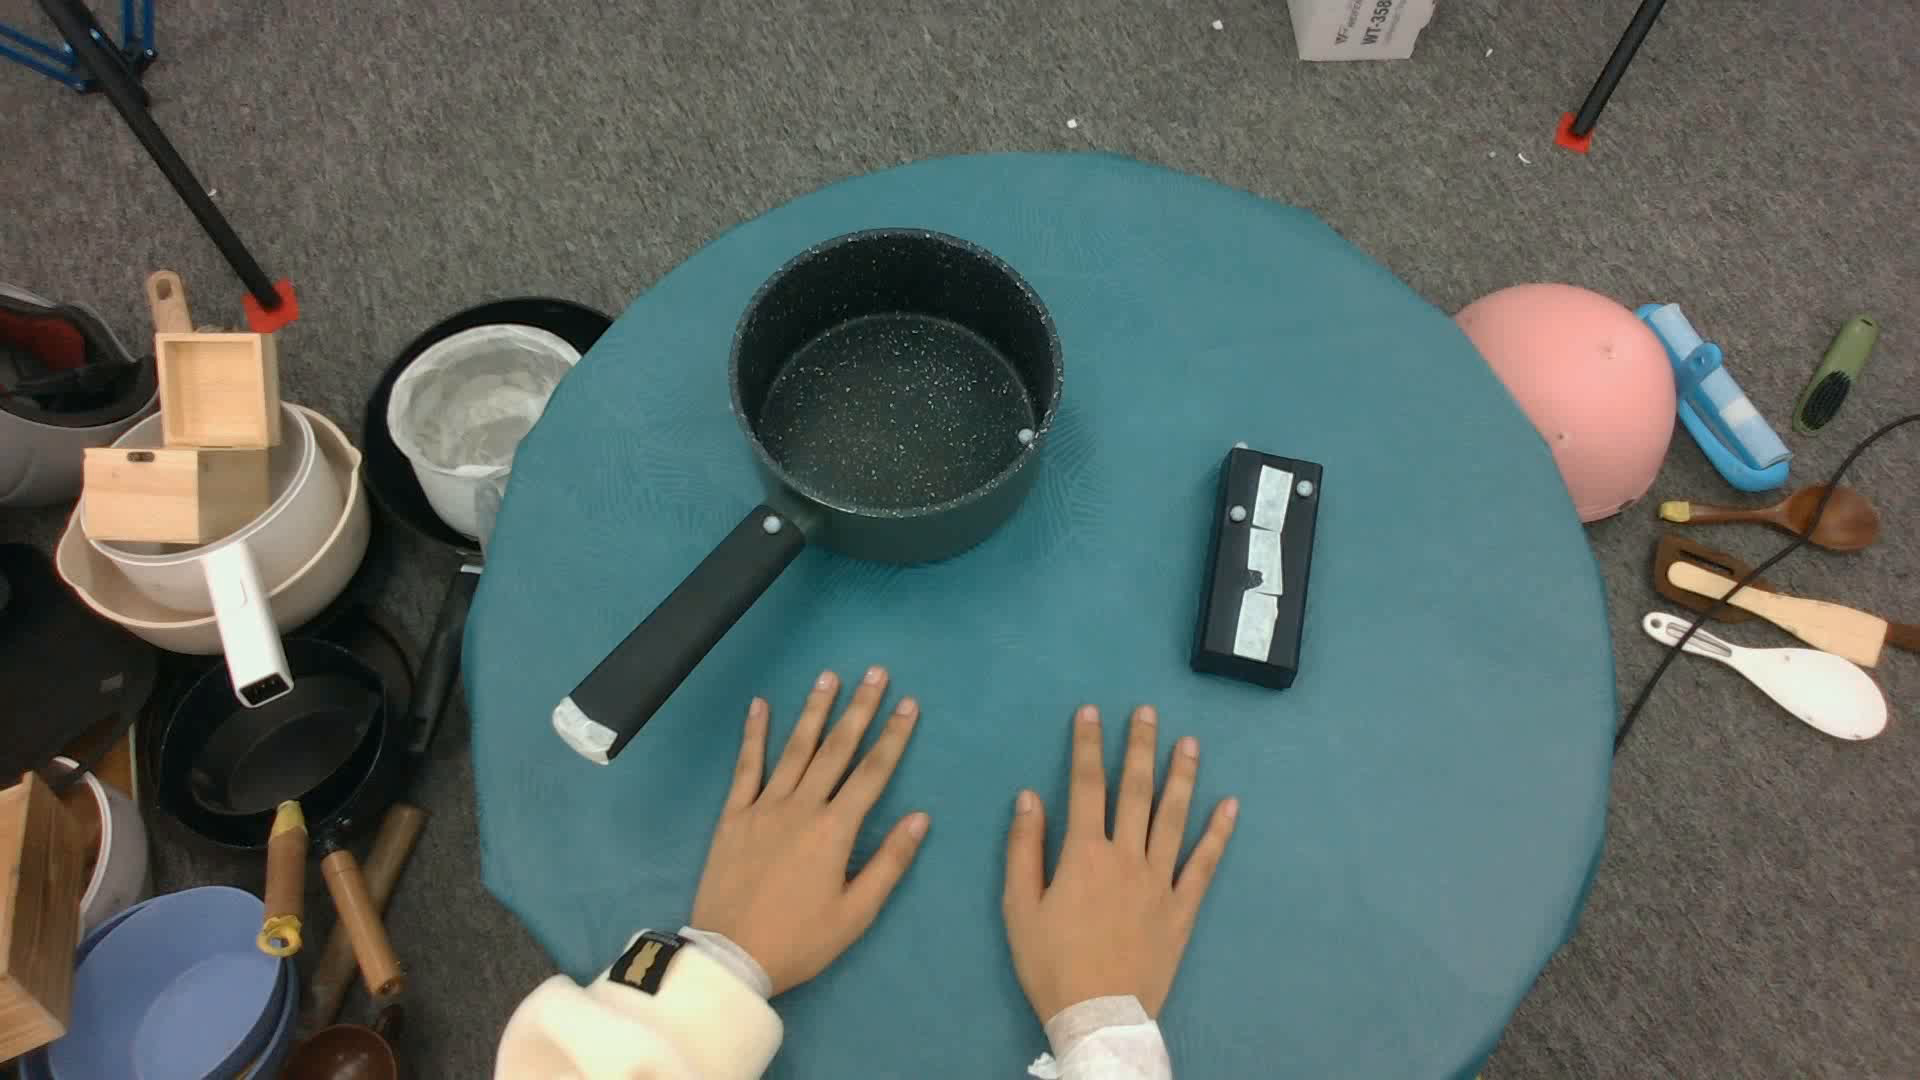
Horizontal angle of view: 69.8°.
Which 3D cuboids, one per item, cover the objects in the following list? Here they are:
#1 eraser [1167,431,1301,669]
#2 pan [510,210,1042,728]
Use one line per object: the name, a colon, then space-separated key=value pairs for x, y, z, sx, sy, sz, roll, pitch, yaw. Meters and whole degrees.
eraser: x=0.145 y=0.004 z=0.731 sx=0.053 sy=0.030 sz=0.126 roll=13 pitch=67 yaw=3
pan: x=-0.092 y=-0.026 z=0.701 sx=0.172 sy=0.086 sz=0.330 roll=35 pitch=67 yaw=12
